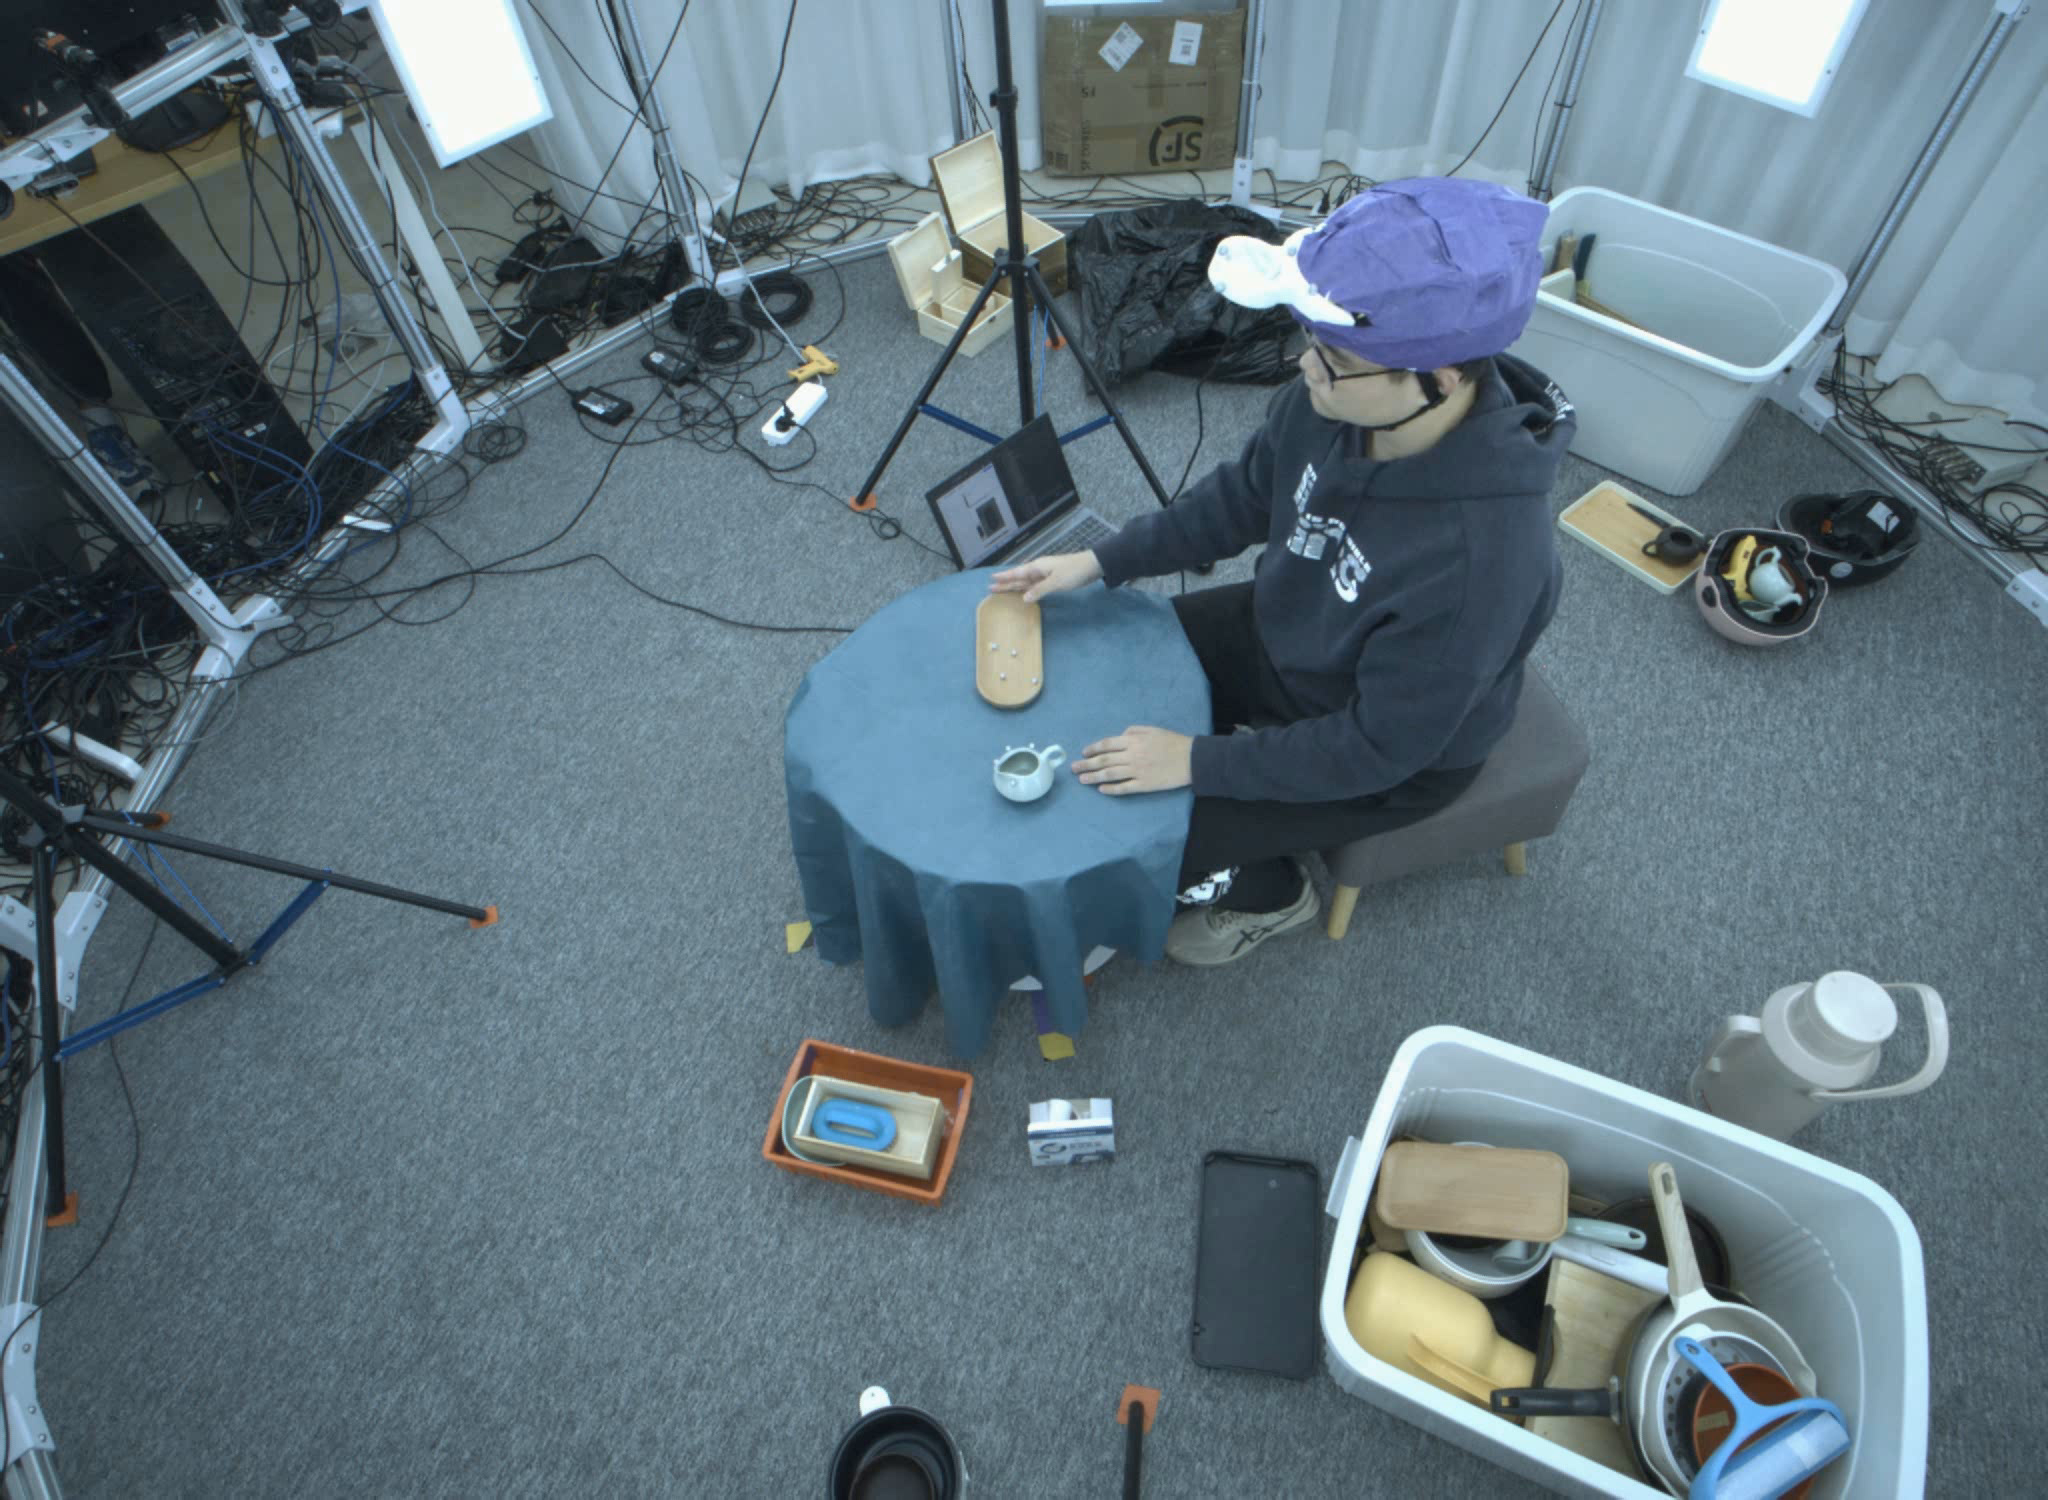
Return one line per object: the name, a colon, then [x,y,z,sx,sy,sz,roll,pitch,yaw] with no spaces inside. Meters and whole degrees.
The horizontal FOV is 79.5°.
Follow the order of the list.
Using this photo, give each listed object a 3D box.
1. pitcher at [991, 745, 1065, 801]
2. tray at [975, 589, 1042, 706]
pitcher: [0.007,0.027,1.735,0.109,0.061,0.084,-20,57,-14]
tray: [-0.024,-0.159,1.891,0.102,0.020,0.228,-2,53,0]
